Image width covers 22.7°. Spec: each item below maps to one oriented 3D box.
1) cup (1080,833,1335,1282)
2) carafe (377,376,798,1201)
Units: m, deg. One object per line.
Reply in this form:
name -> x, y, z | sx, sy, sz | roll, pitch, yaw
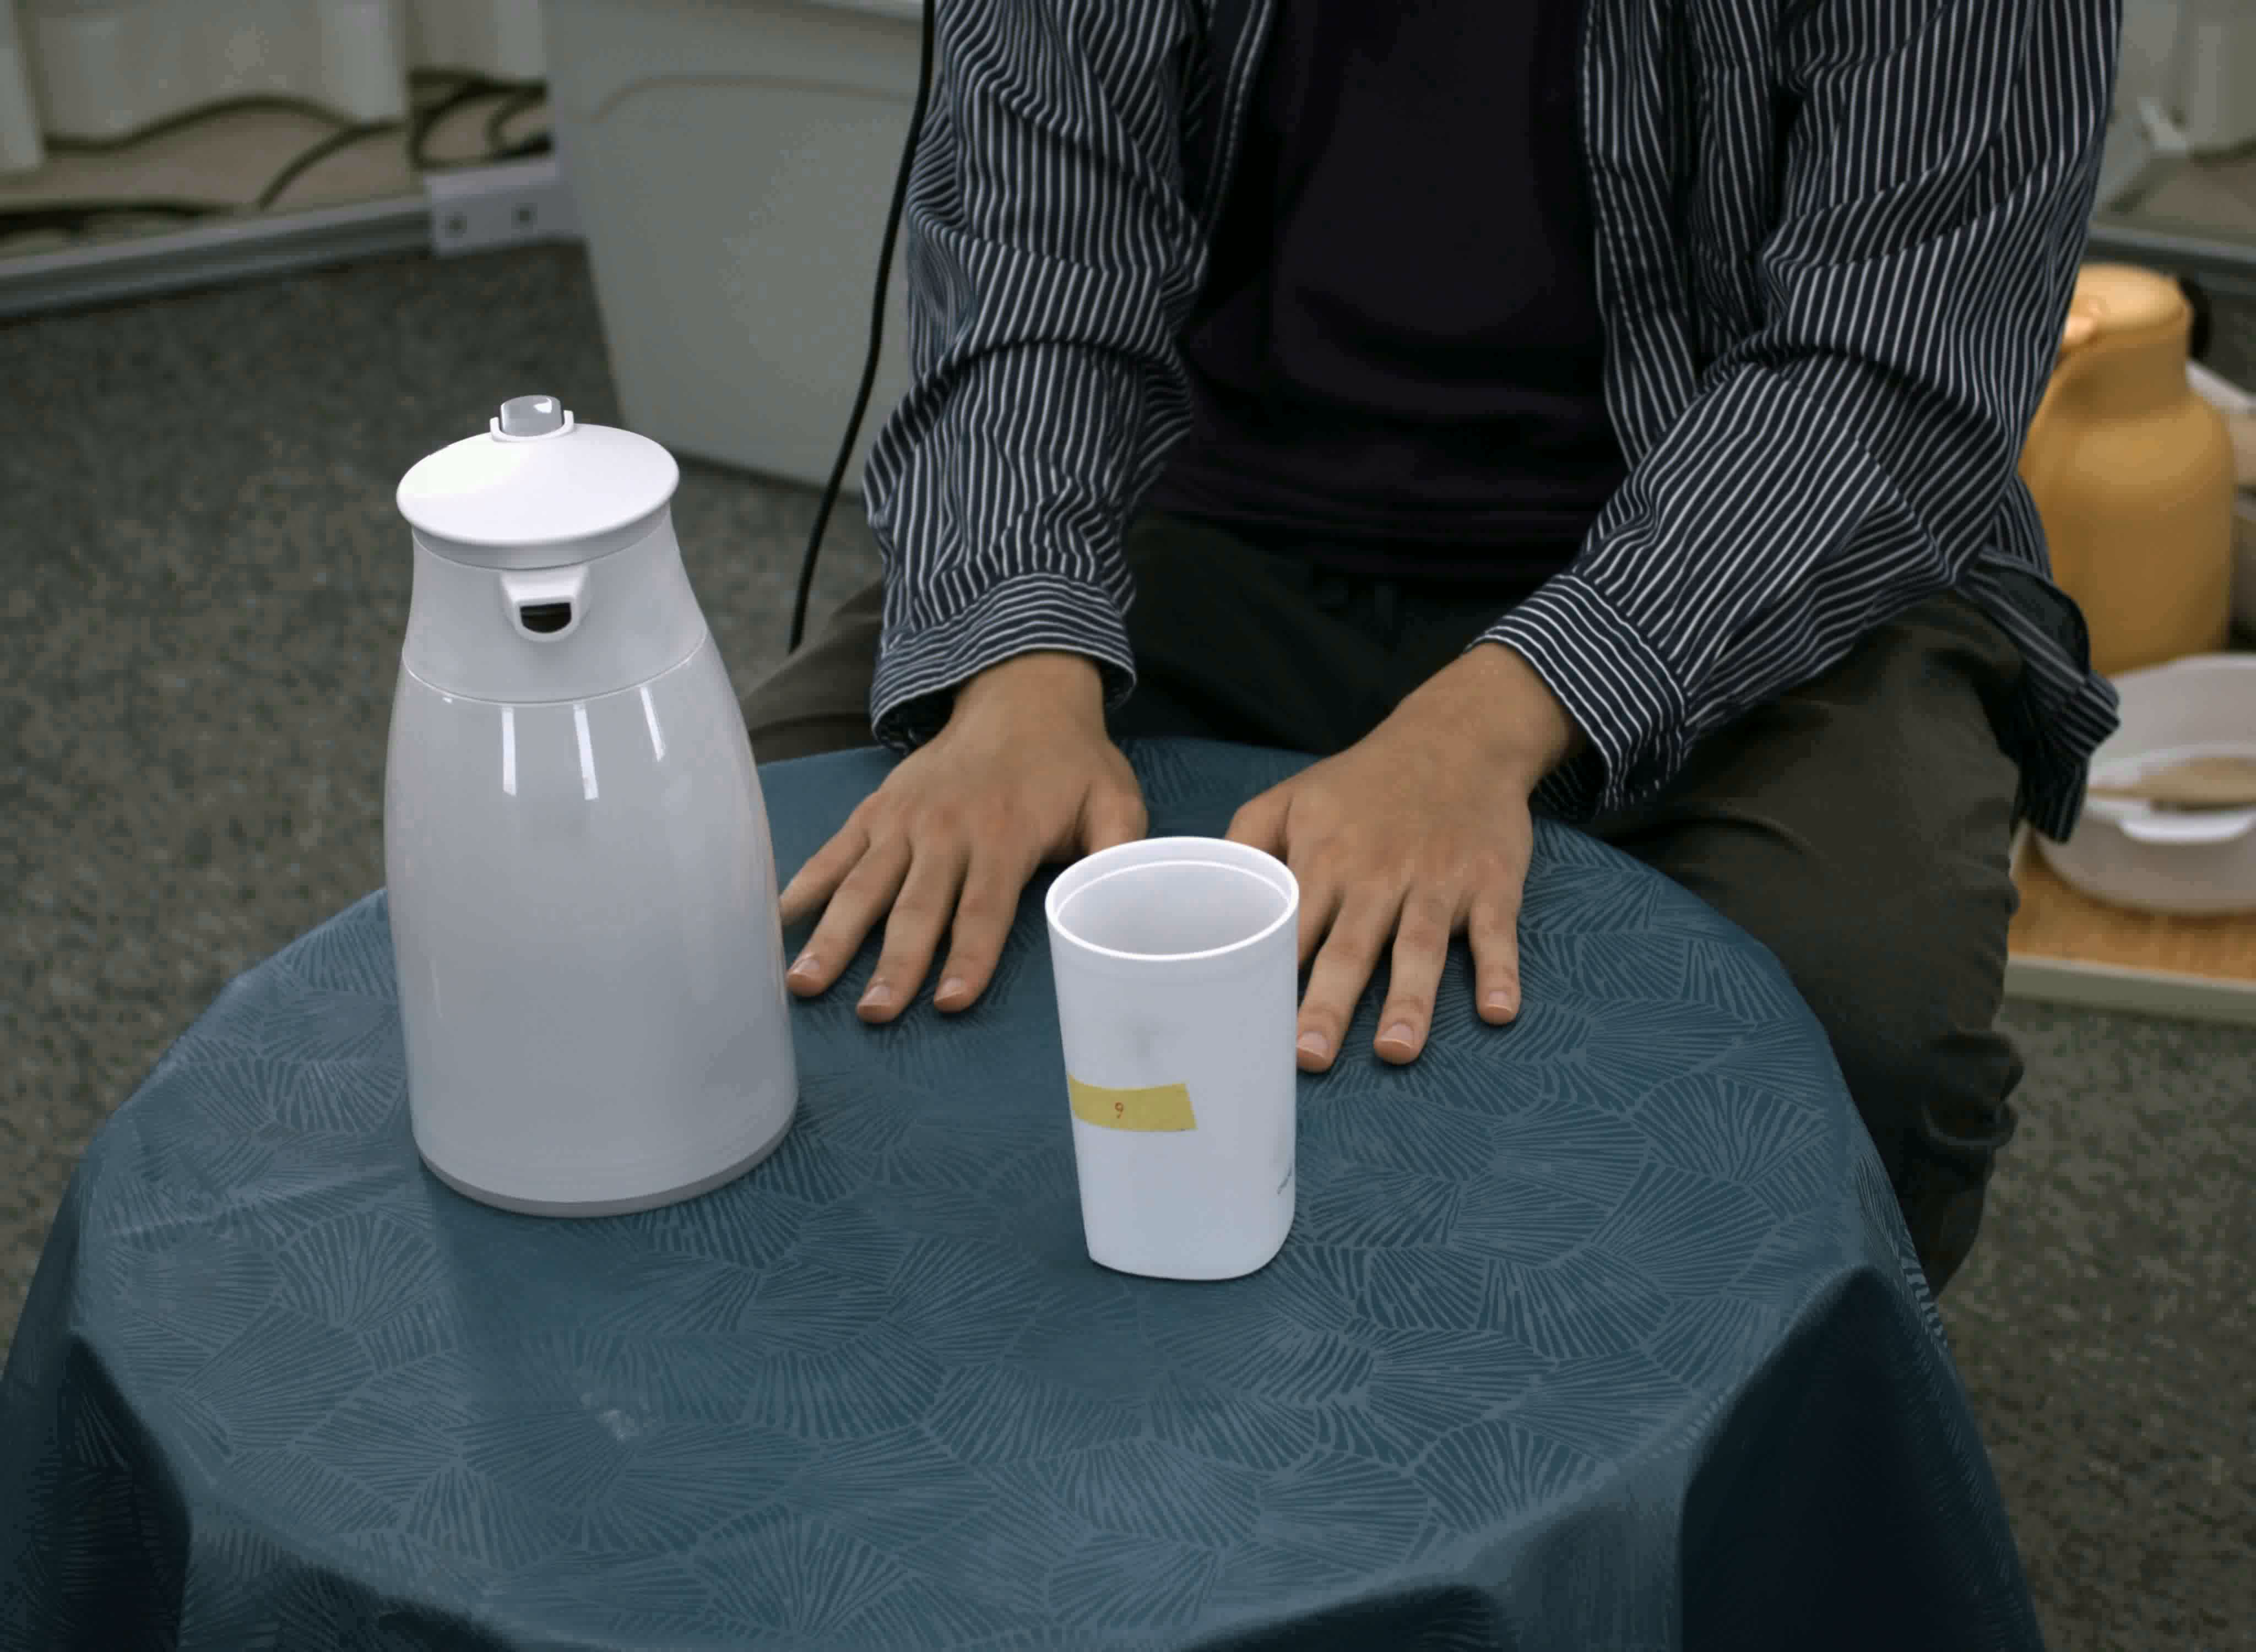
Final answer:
cup -> 0.029, 0.076, 1.800 | 0.081, 0.124, 0.083 | -3, 26, 2
carafe -> -0.191, -0.023, 1.878 | 0.132, 0.246, 0.170 | -10, 29, -9
